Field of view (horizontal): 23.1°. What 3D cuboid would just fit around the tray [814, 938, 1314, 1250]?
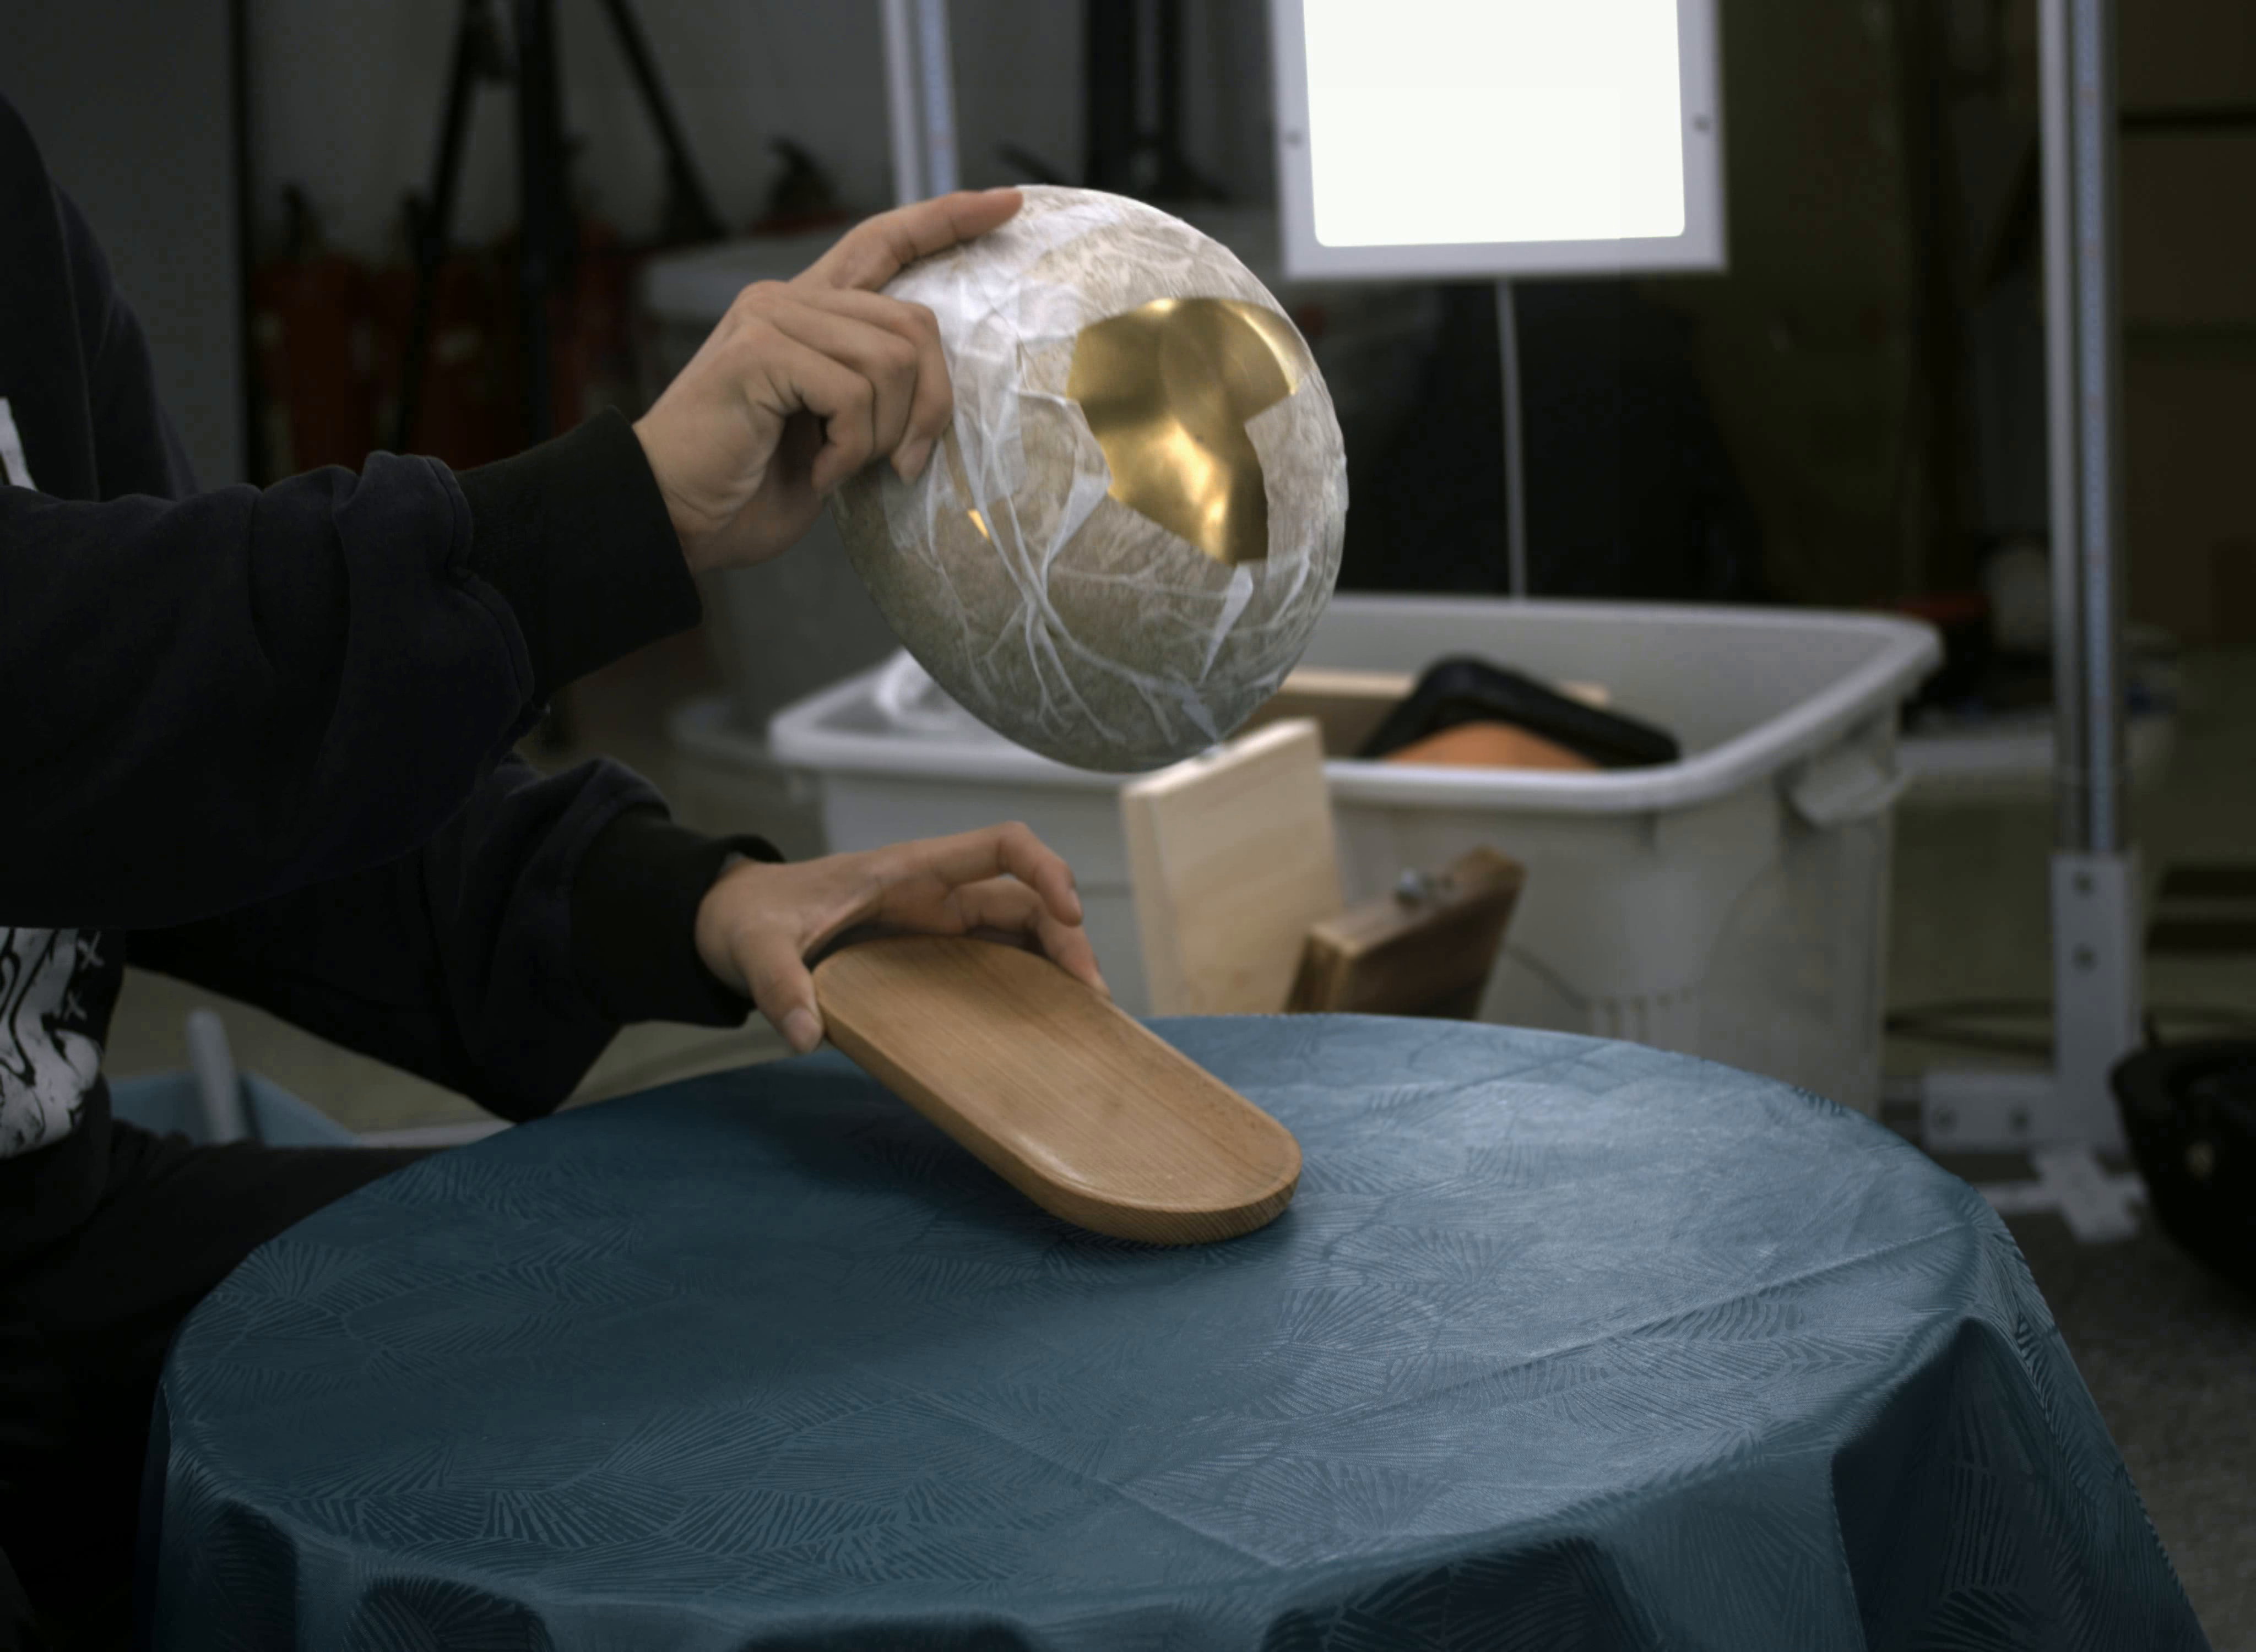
[{"bbox_3d":[-0.025,0.091,1.919,0.099,0.020,0.235,-12,30,-32],"label":"tray"}]

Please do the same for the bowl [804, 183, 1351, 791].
[{"bbox_3d":[0.004,-0.121,1.790,0.209,0.215,0.097,-18,-6,-45],"label":"bowl"}]
